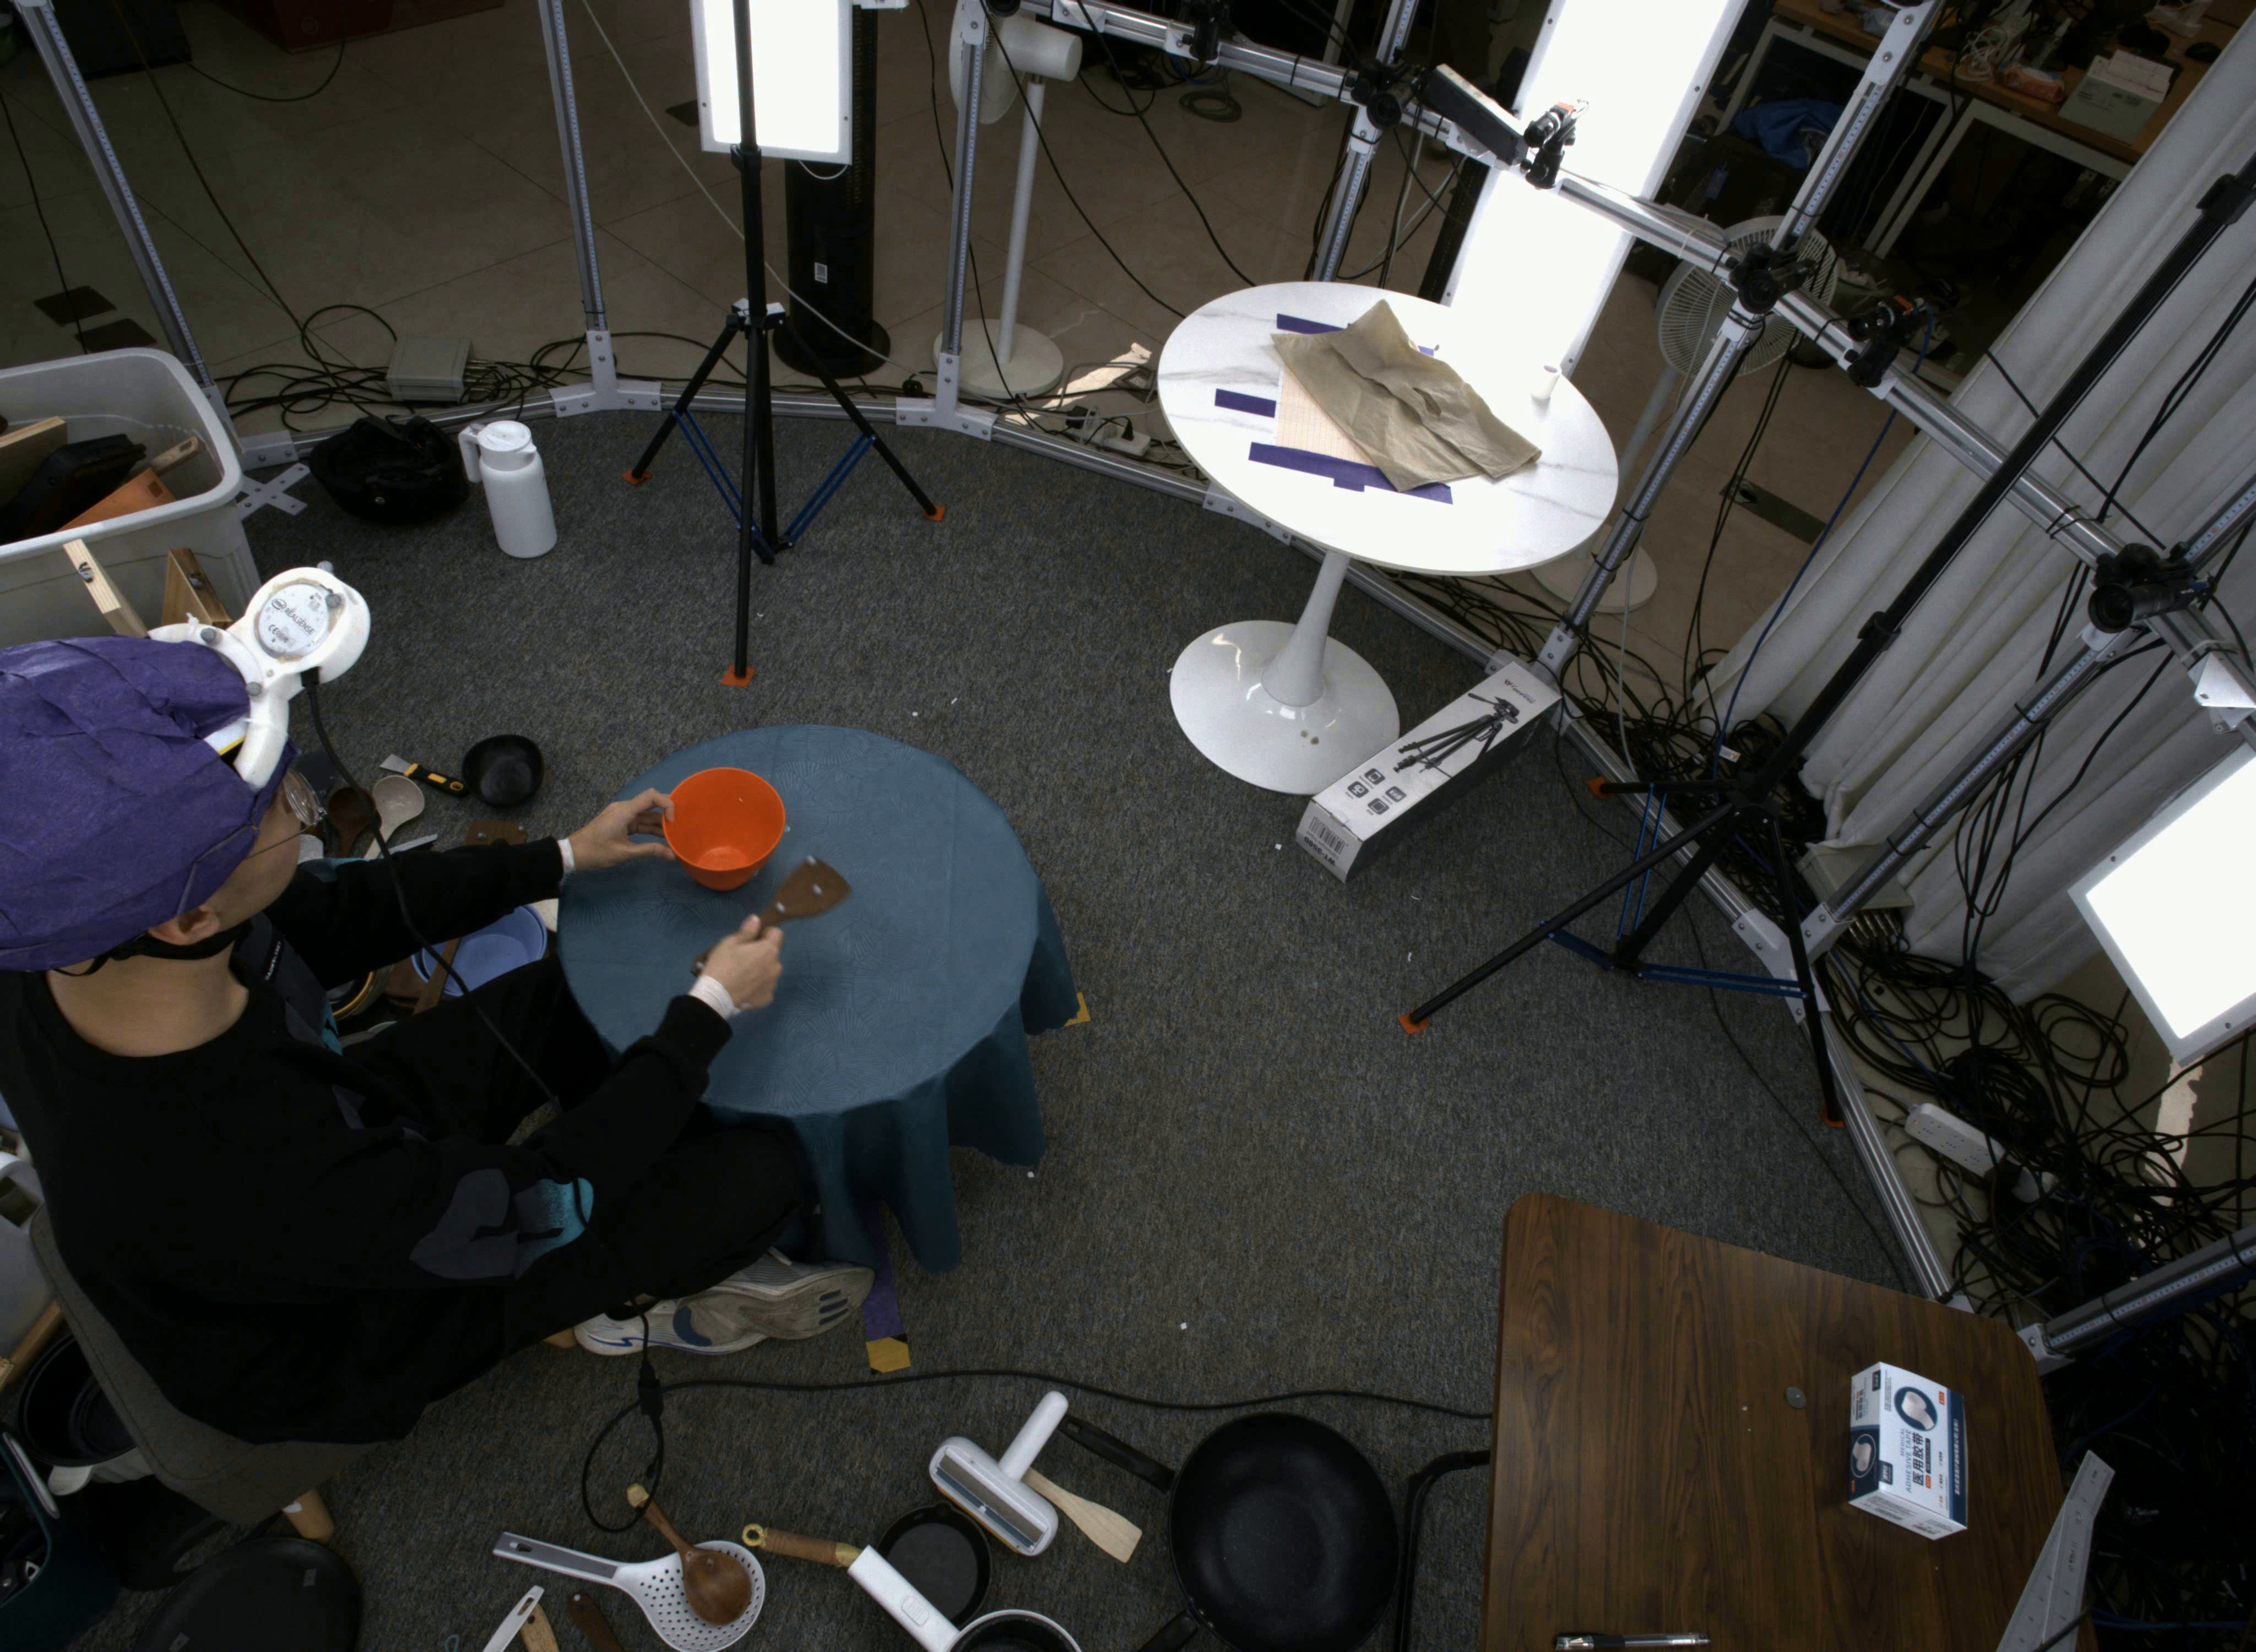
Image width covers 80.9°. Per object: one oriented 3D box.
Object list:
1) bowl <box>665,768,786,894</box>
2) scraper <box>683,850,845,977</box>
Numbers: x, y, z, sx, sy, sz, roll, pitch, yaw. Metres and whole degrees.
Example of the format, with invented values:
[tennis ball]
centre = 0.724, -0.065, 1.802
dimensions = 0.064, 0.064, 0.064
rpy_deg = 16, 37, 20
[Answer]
[bowl]
centre = -0.506, 0.016, 1.629
dimensions = 0.148, 0.106, 0.145
rpy_deg = 9, 51, -9
[scraper]
centre = -0.425, 0.103, 1.499
dimensions = 0.074, 0.011, 0.211
rpy_deg = 39, 55, 15
